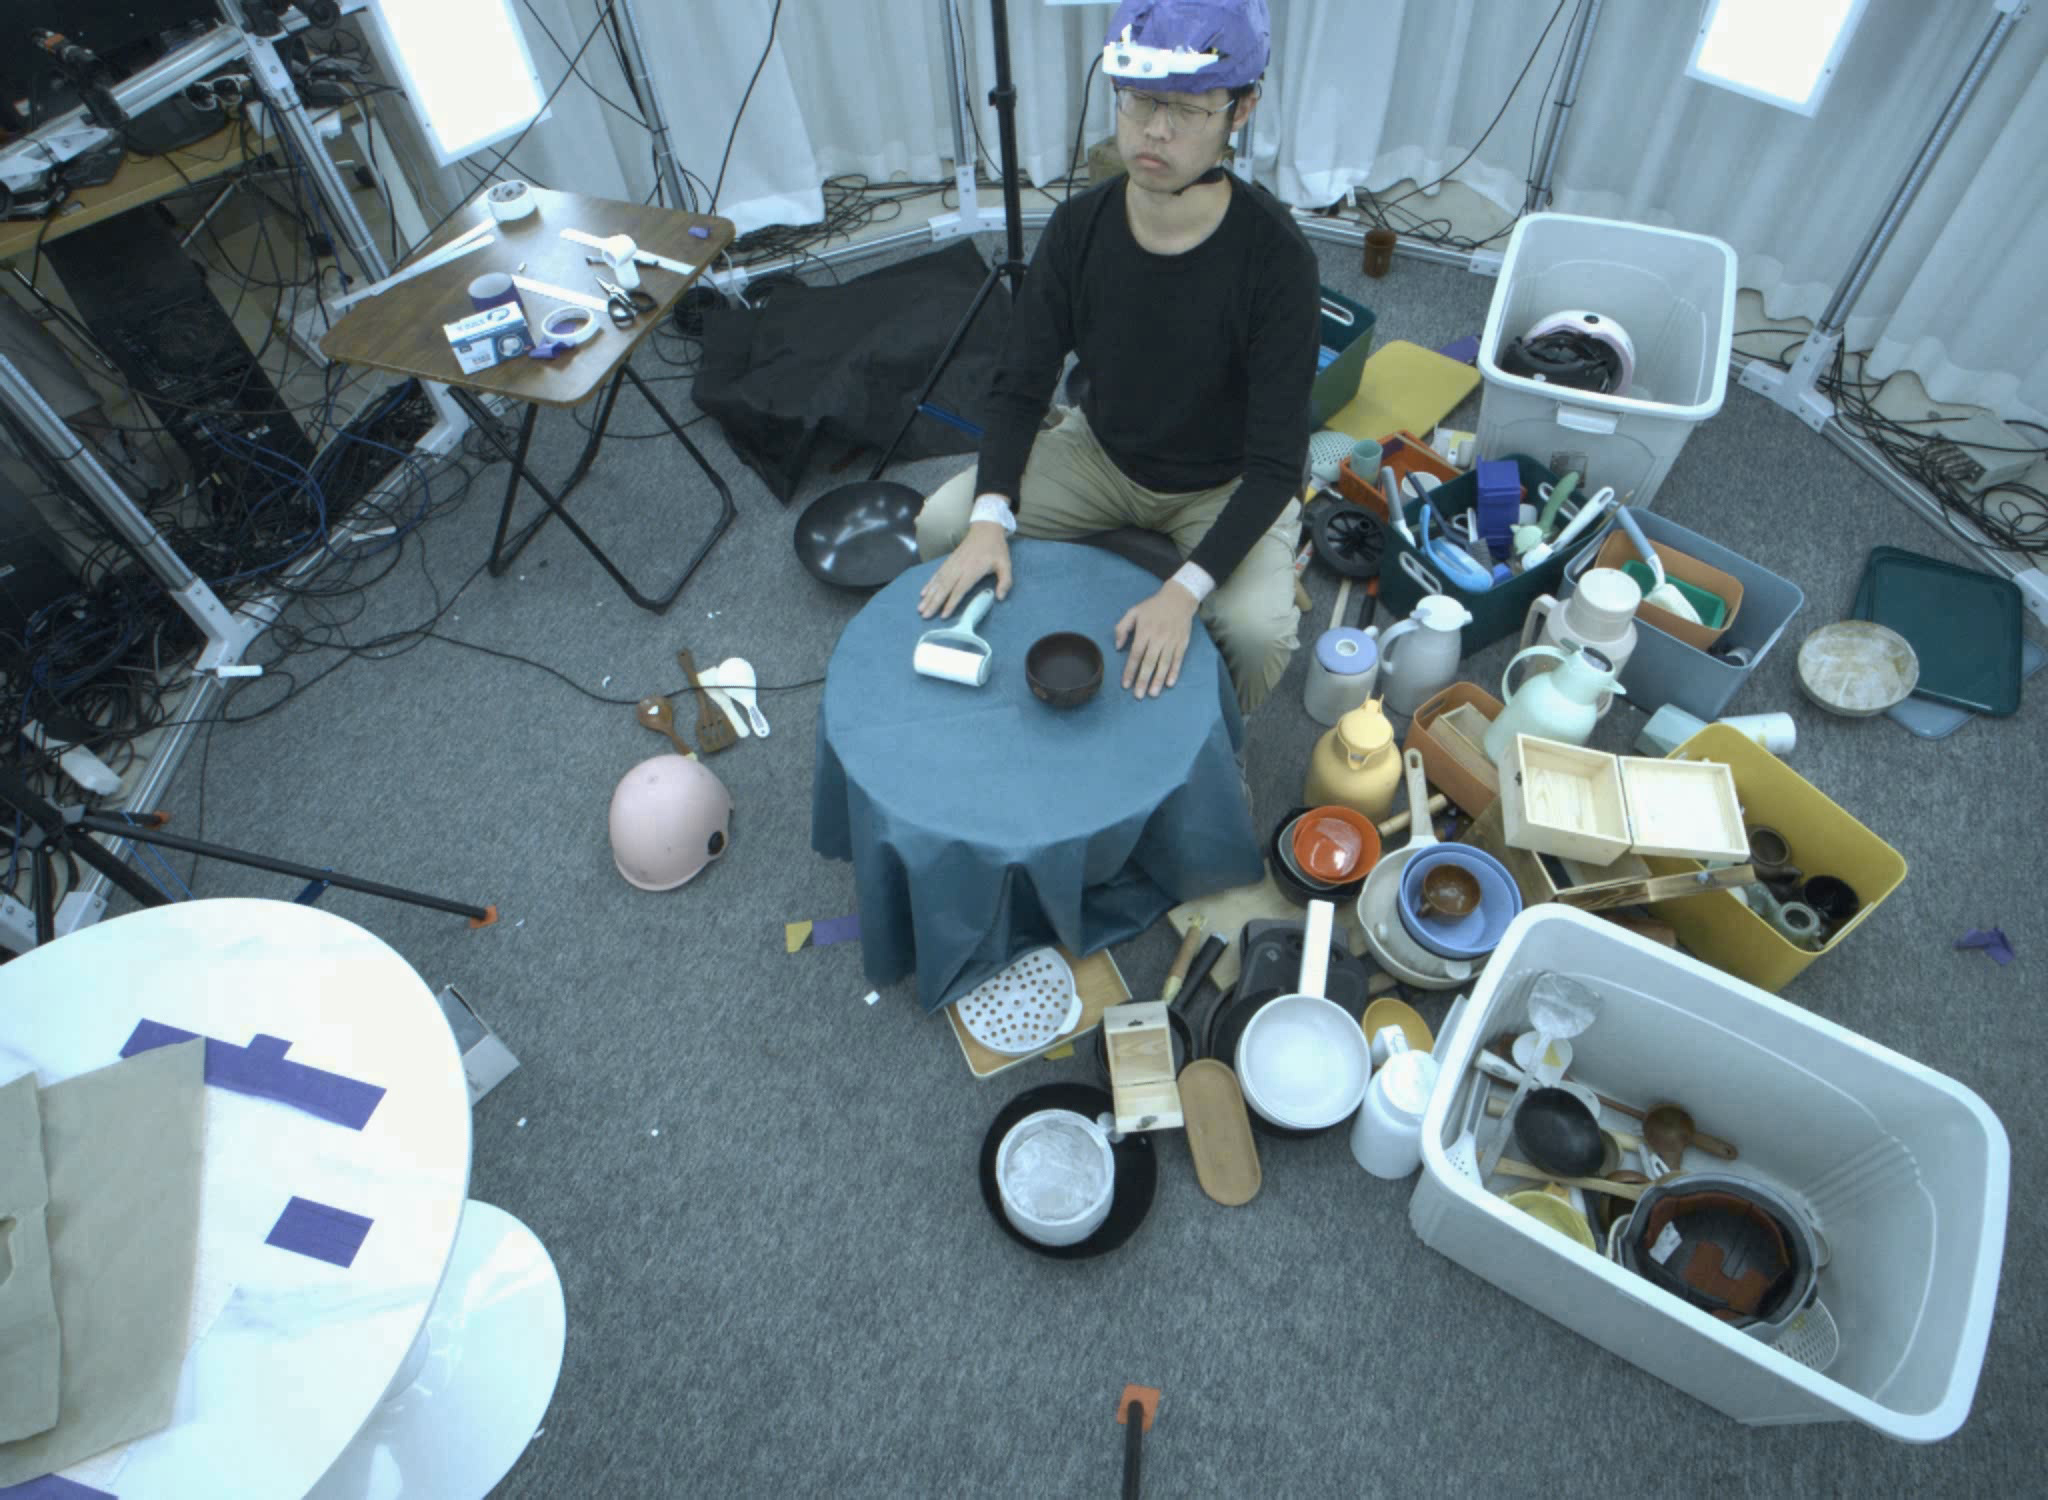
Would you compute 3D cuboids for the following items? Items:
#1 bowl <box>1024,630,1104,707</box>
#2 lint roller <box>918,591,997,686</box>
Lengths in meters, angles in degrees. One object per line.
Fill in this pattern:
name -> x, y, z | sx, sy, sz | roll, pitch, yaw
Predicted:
bowl -> 0.060, -0.113, 1.821 | 0.118, 0.070, 0.117 | -1, 54, 2
lint roller -> -0.081, -0.184, 1.893 | 0.115, 0.049, 0.197 | 13, 54, 12
